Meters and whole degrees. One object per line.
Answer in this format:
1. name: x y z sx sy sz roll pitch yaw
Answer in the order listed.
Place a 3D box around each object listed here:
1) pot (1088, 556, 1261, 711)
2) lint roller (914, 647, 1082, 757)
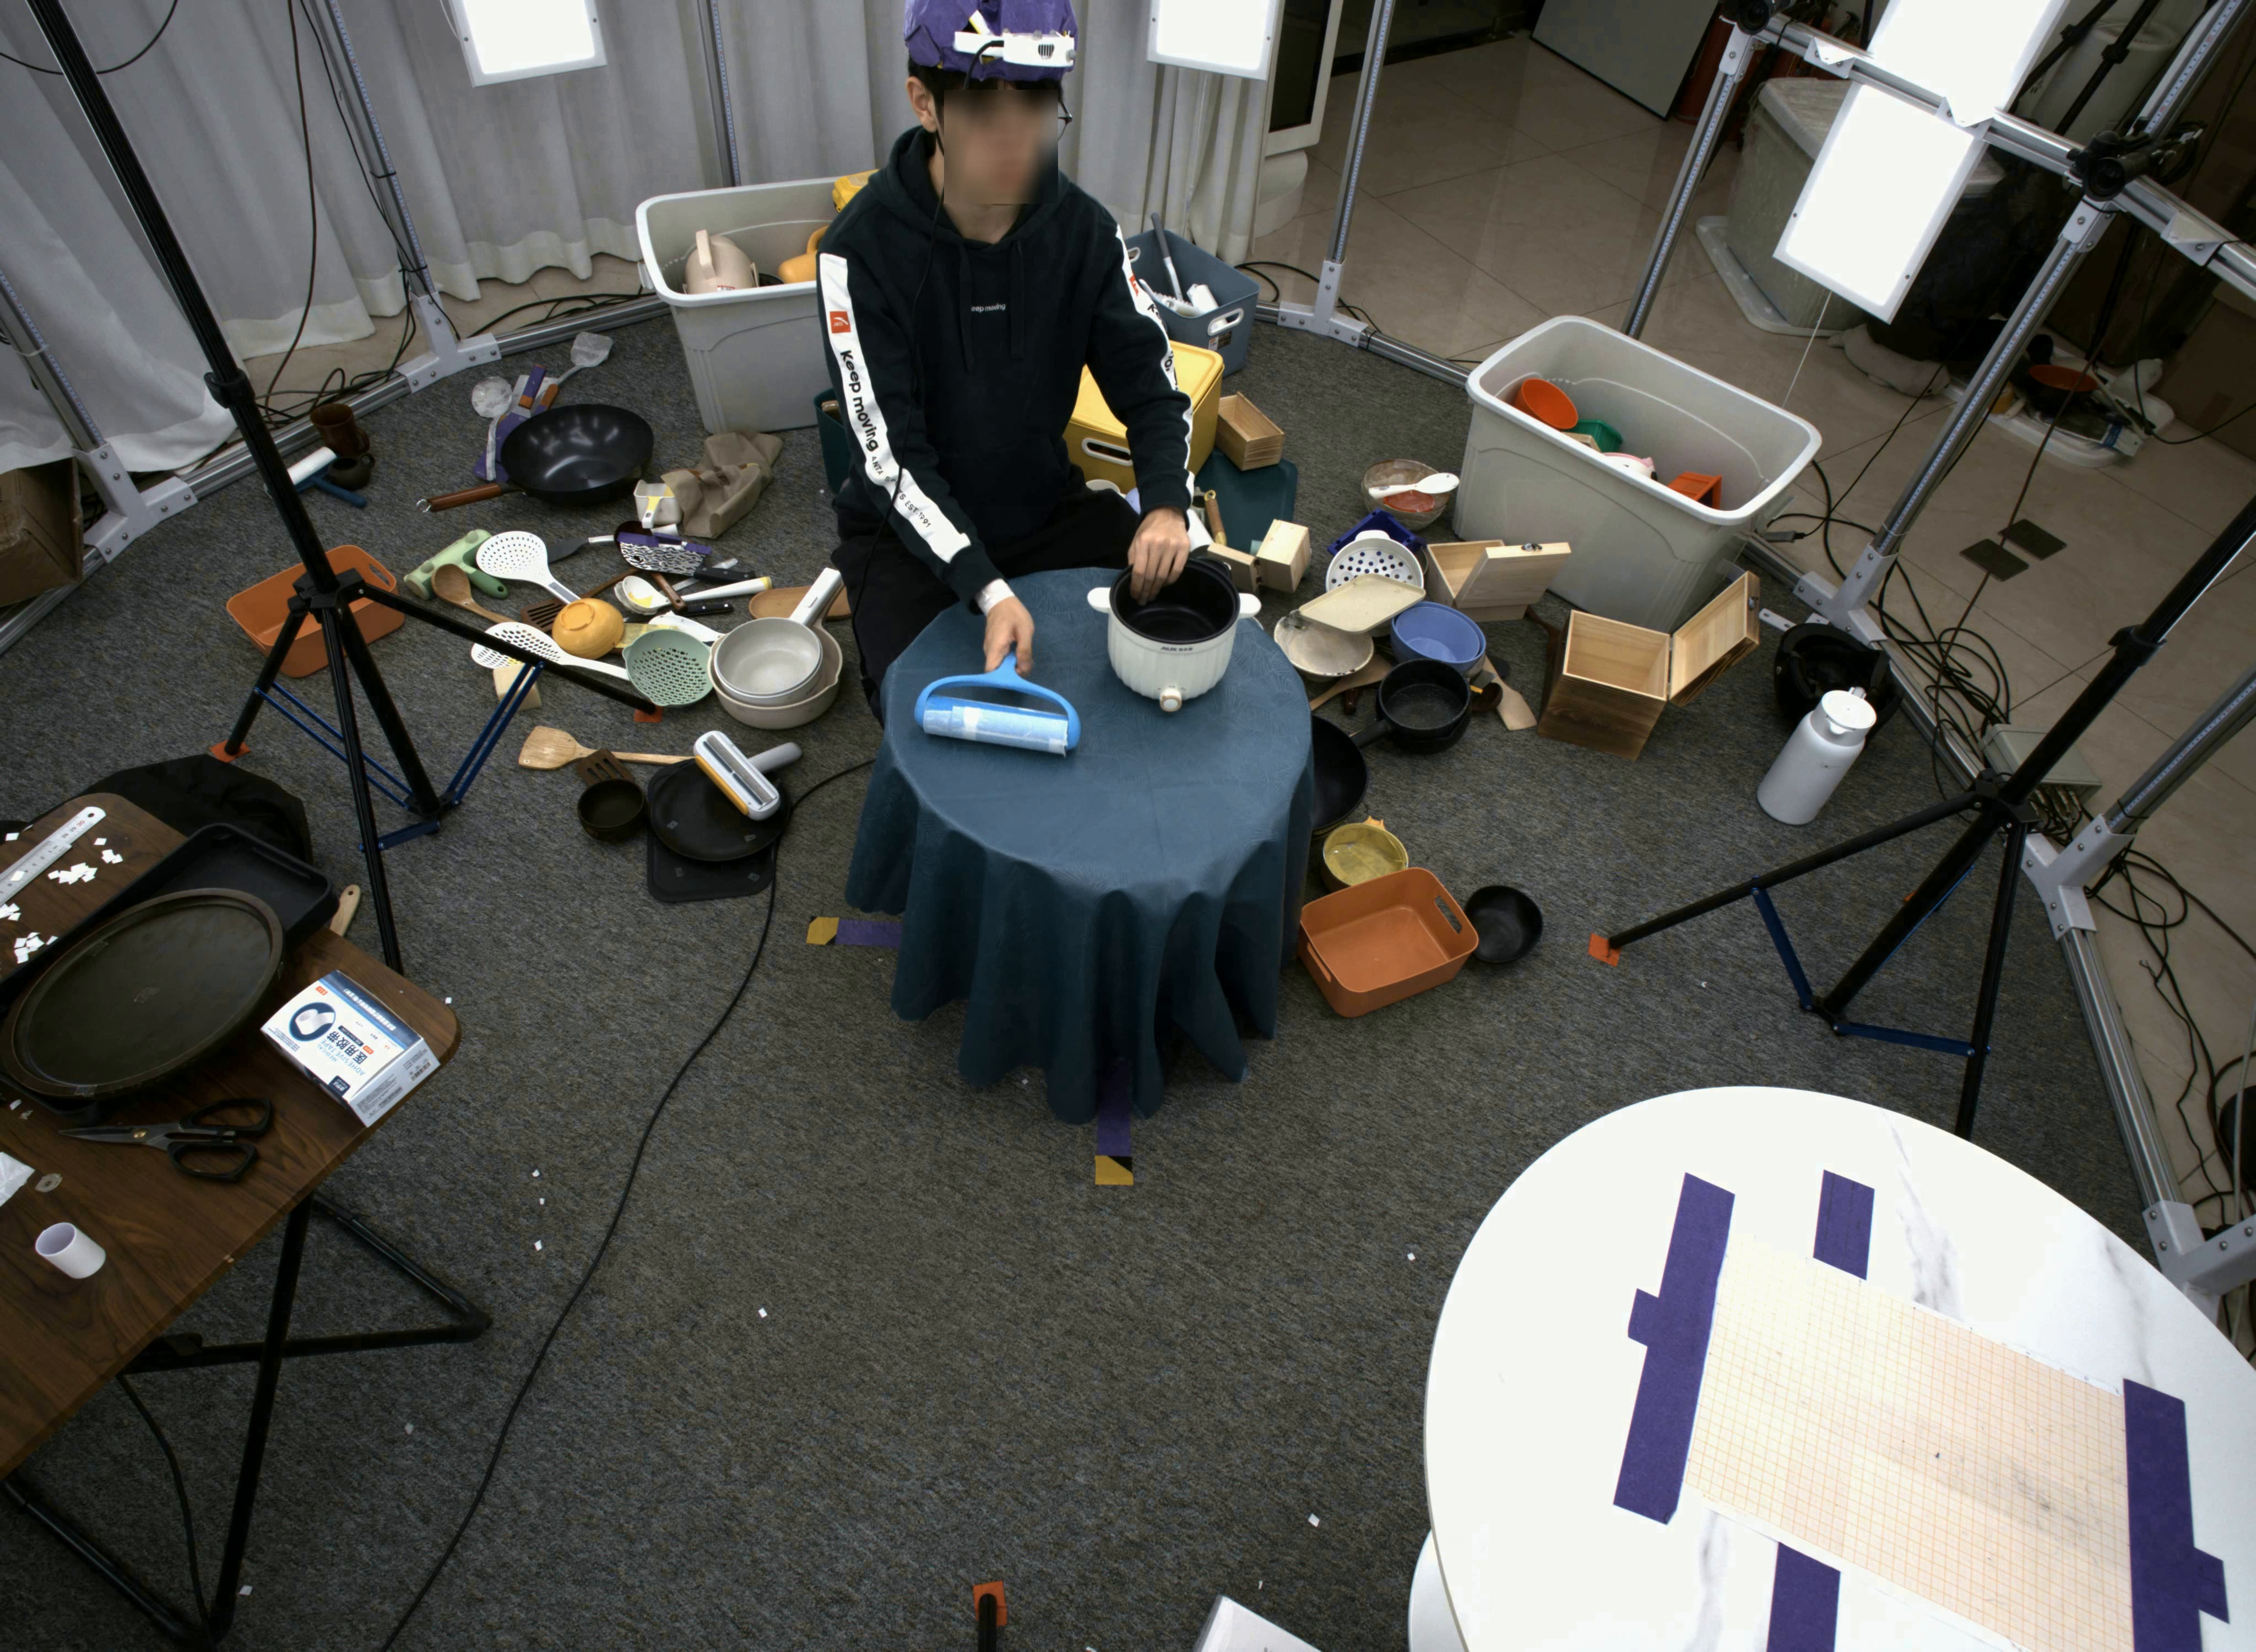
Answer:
1. pot: 0.063 -0.268 1.815 0.240 0.139 0.195 0 46 -2
2. lint roller: -0.169 -0.188 1.768 0.229 0.066 0.184 6 61 4
